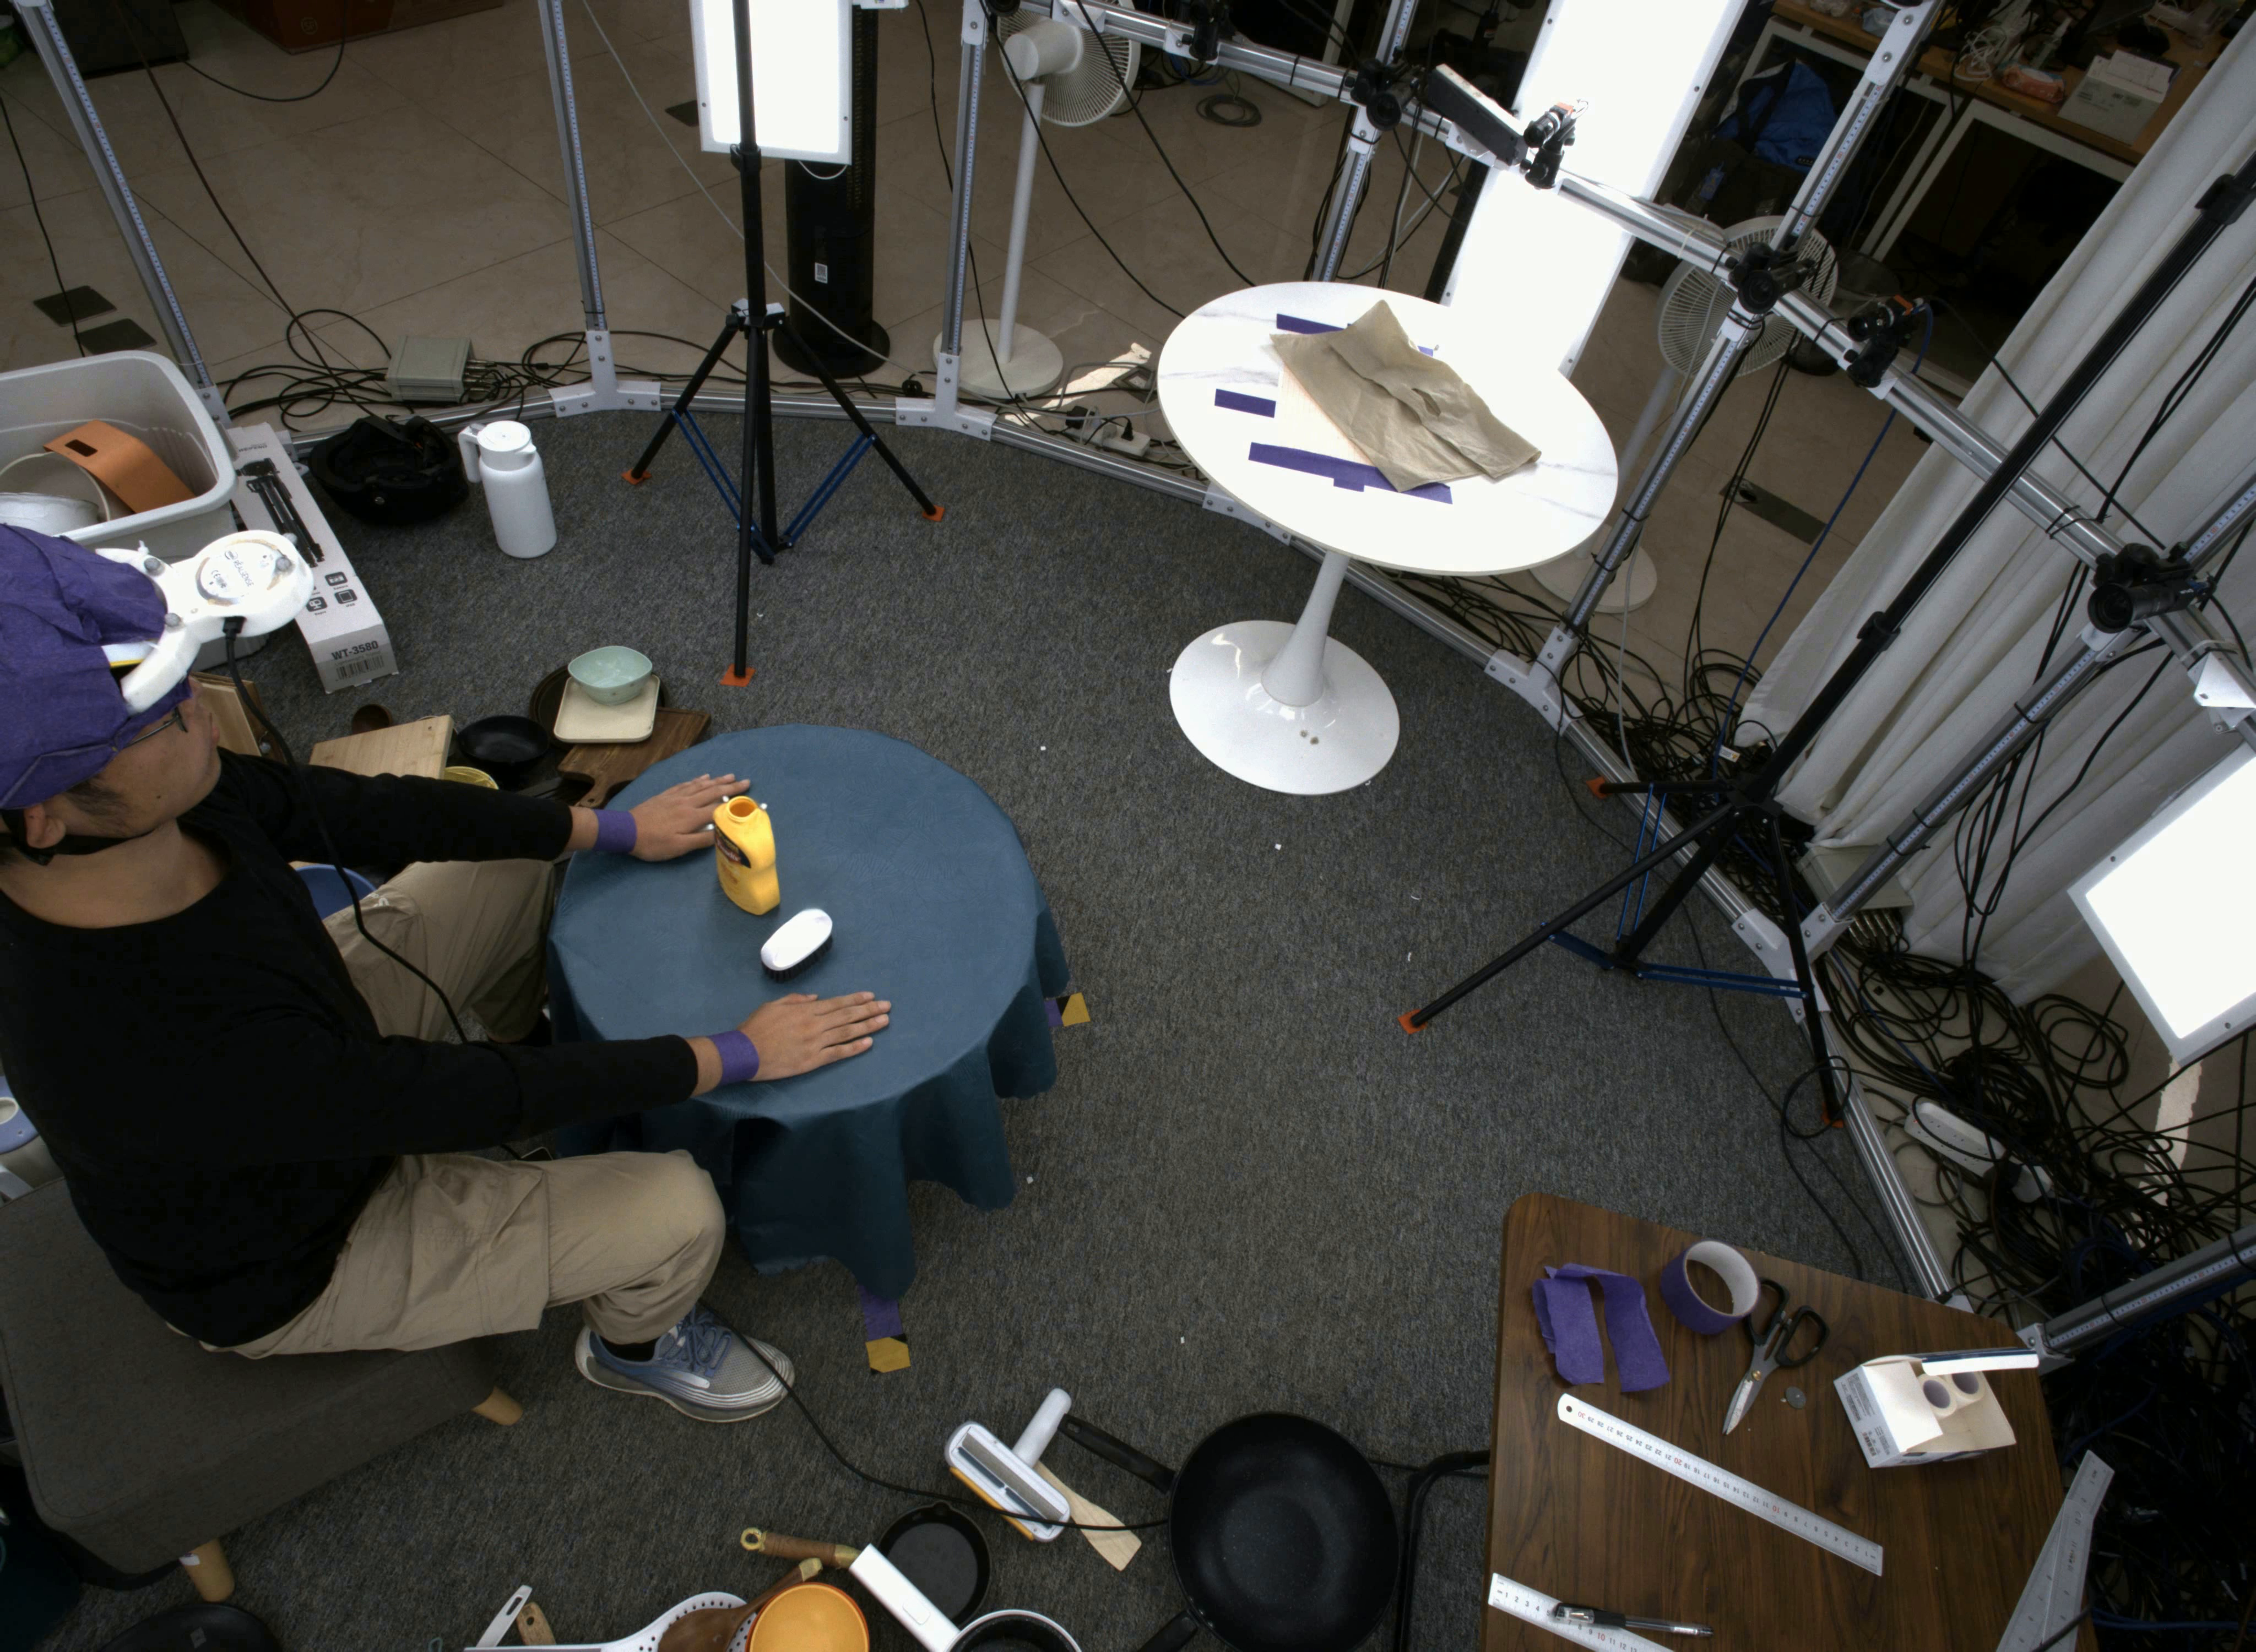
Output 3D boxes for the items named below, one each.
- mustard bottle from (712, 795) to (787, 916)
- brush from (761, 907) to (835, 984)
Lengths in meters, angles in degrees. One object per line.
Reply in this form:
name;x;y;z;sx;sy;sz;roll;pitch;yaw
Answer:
mustard bottle;-0.467;0.028;1.588;0.096;0.175;0.059;37;58;16
brush;-0.404;0.136;1.584;0.049;0.074;0.099;38;53;19
